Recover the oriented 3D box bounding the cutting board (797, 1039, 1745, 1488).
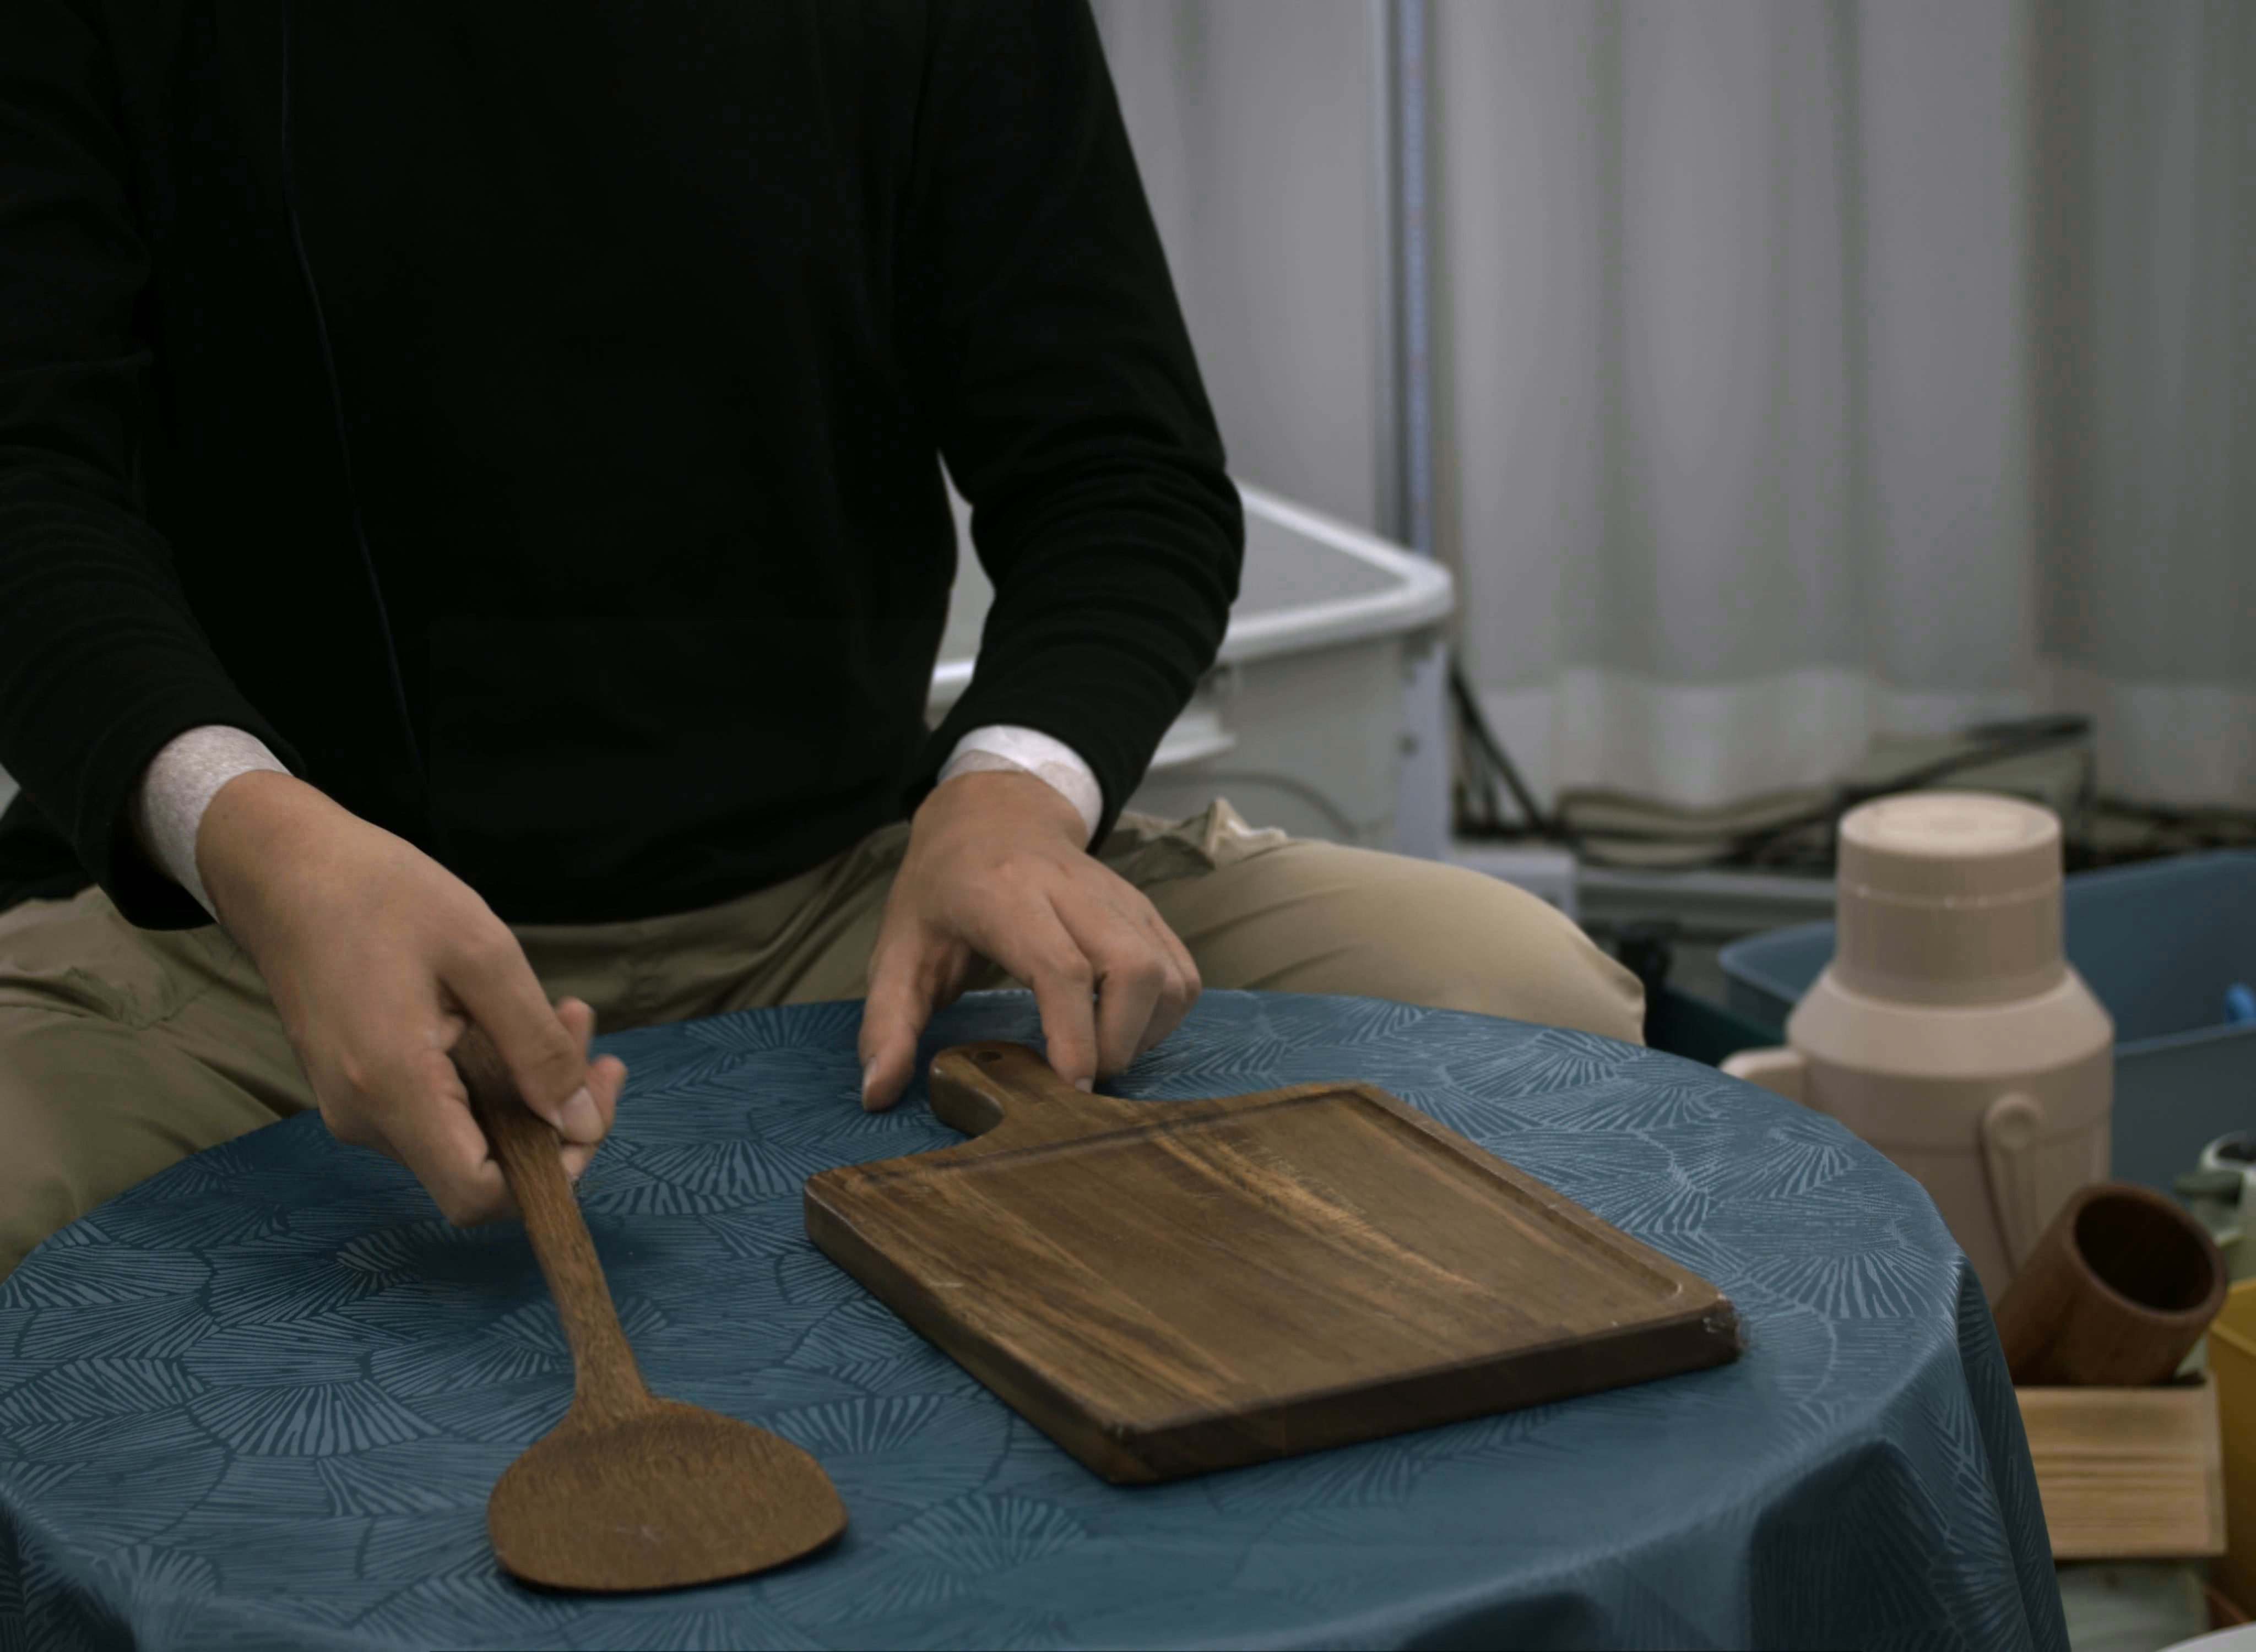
[{"bbox_3d":[0.016,0.118,1.657,0.200,0.023,0.355,-9,16,-23],"label":"cutting board"}]

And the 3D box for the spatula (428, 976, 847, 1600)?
[{"bbox_3d":[-0.164,0.124,1.591,0.095,0.015,0.390,-7,25,-13],"label":"spatula"}]
